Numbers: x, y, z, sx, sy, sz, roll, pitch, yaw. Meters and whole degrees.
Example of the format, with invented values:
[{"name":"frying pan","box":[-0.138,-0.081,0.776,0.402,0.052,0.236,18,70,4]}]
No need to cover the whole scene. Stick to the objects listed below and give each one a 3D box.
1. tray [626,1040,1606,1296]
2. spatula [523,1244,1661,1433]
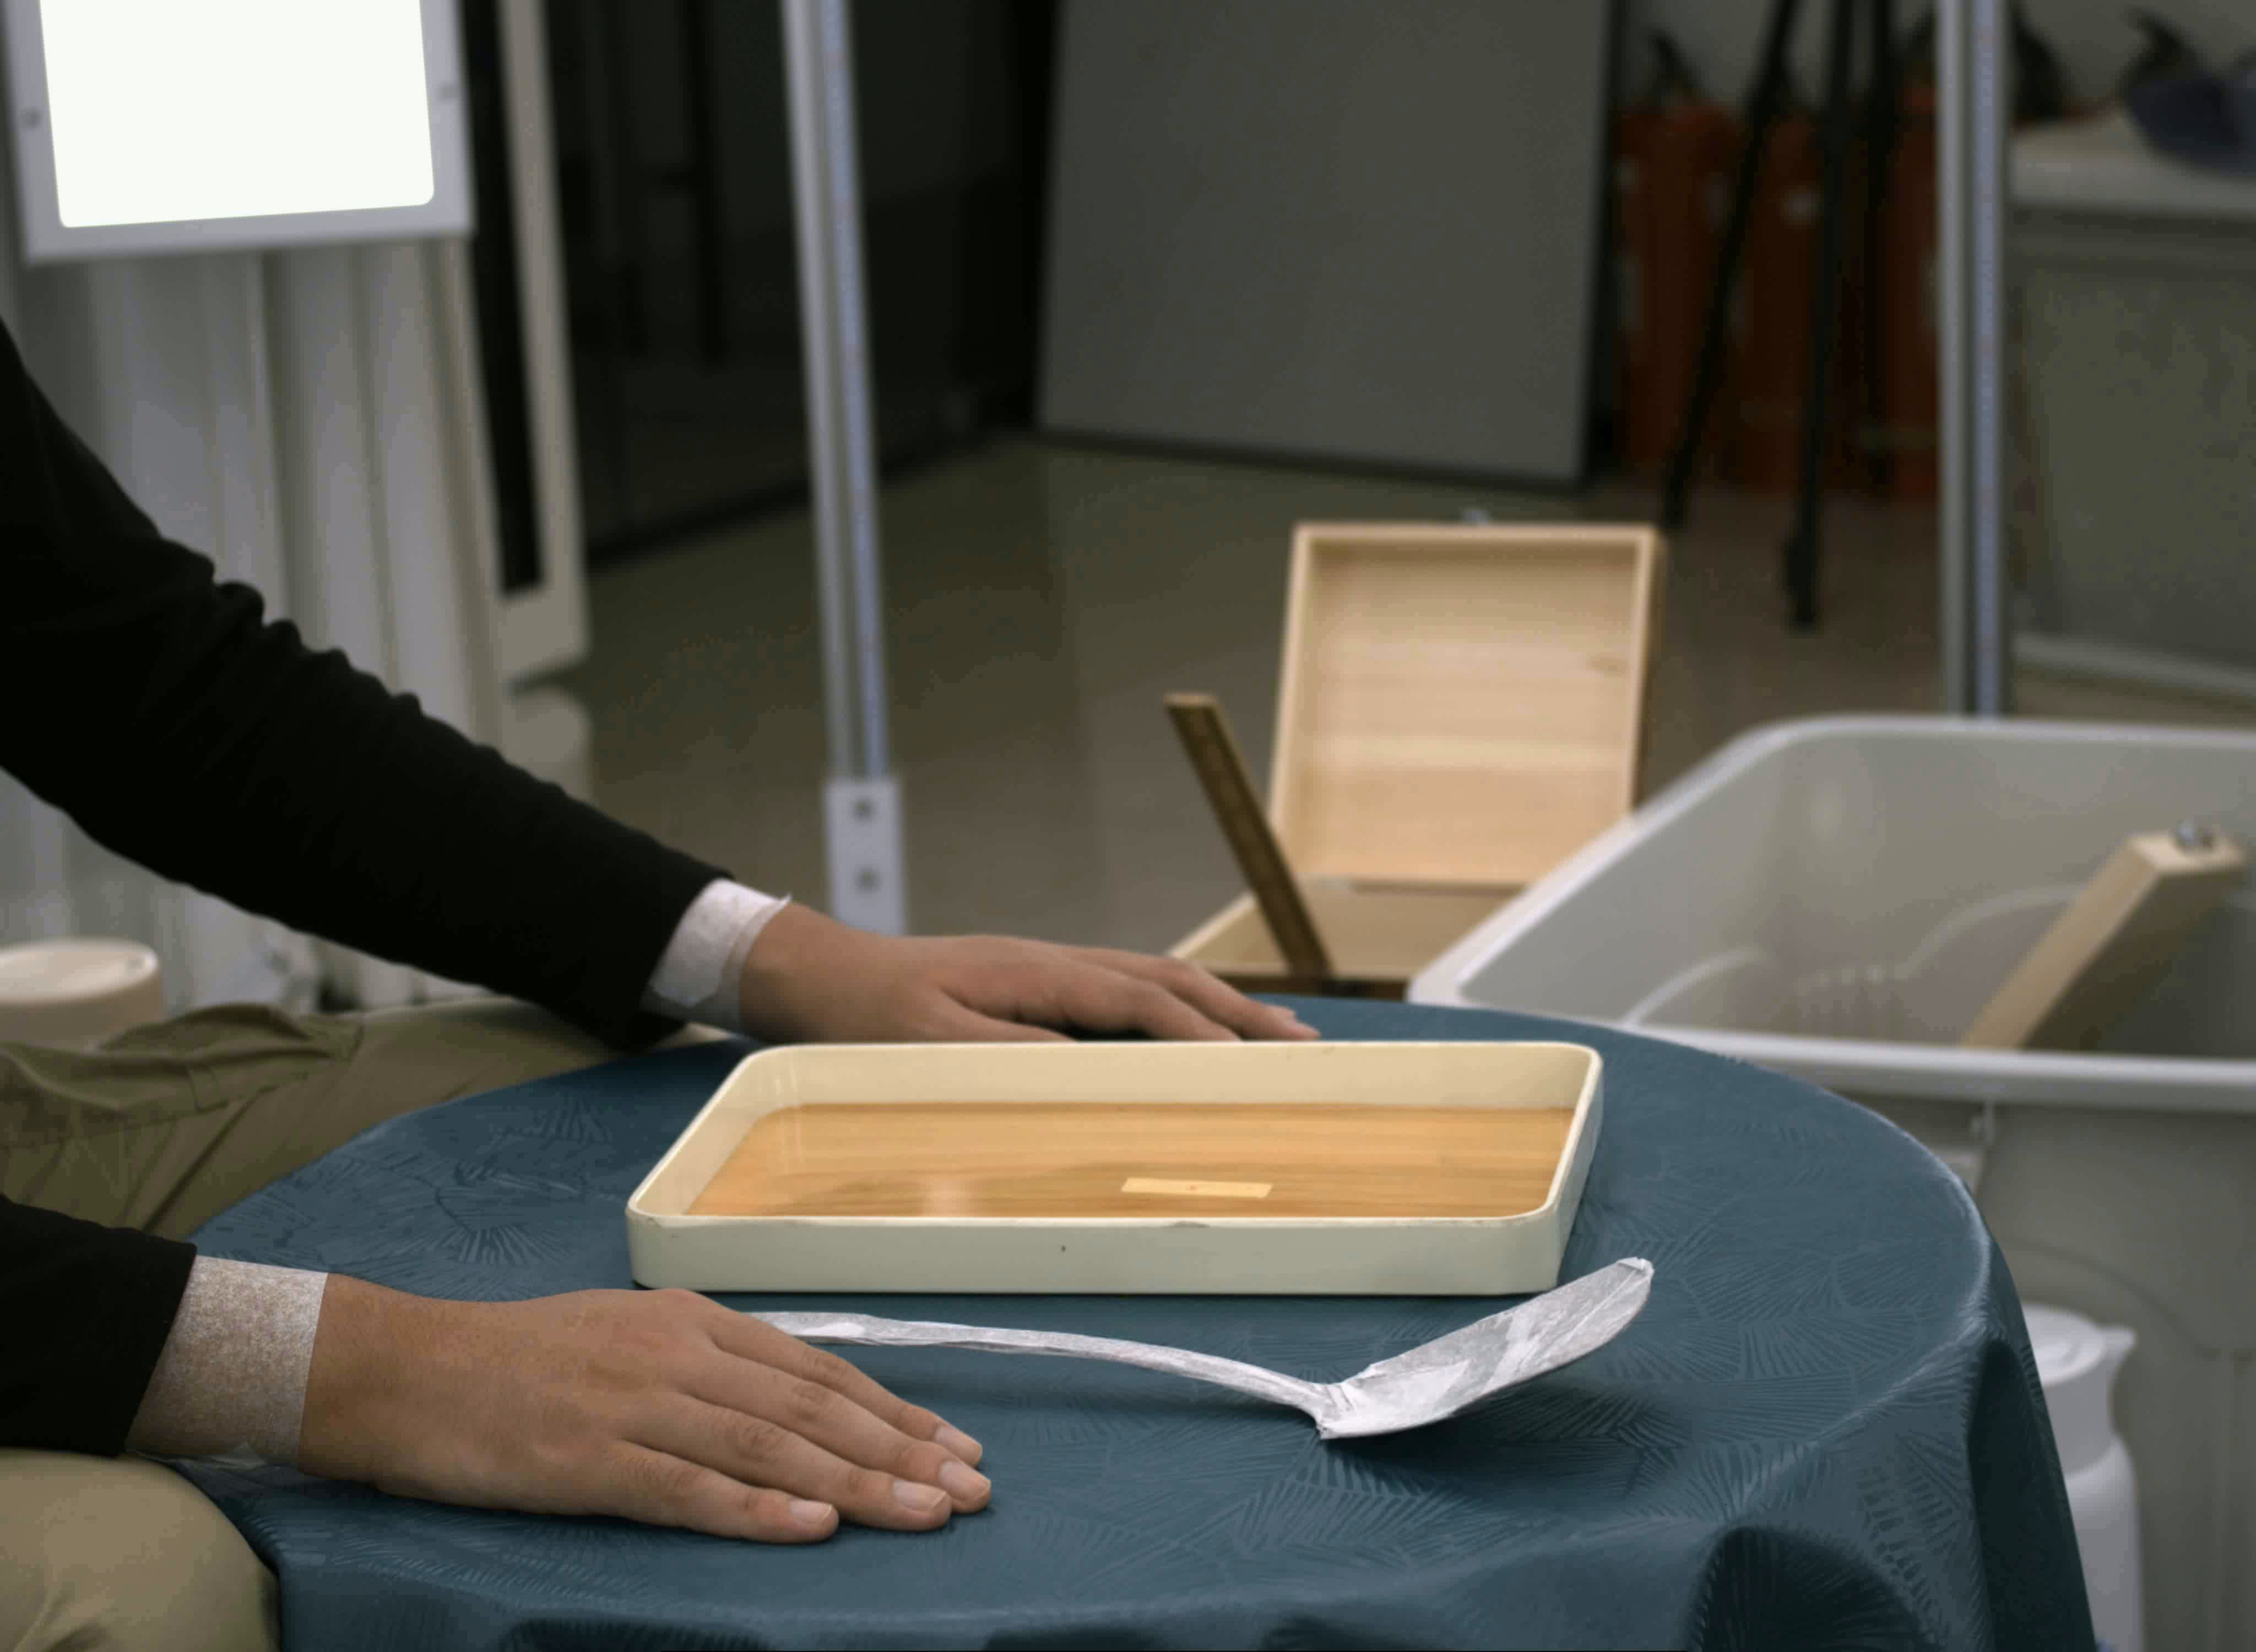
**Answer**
[{"name":"tray","box":[0.001,0.111,1.755,0.298,0.028,0.190,-1,14,13]},{"name":"spatula","box":[-0.021,0.148,1.584,0.364,0.045,0.098,1,15,21]}]
